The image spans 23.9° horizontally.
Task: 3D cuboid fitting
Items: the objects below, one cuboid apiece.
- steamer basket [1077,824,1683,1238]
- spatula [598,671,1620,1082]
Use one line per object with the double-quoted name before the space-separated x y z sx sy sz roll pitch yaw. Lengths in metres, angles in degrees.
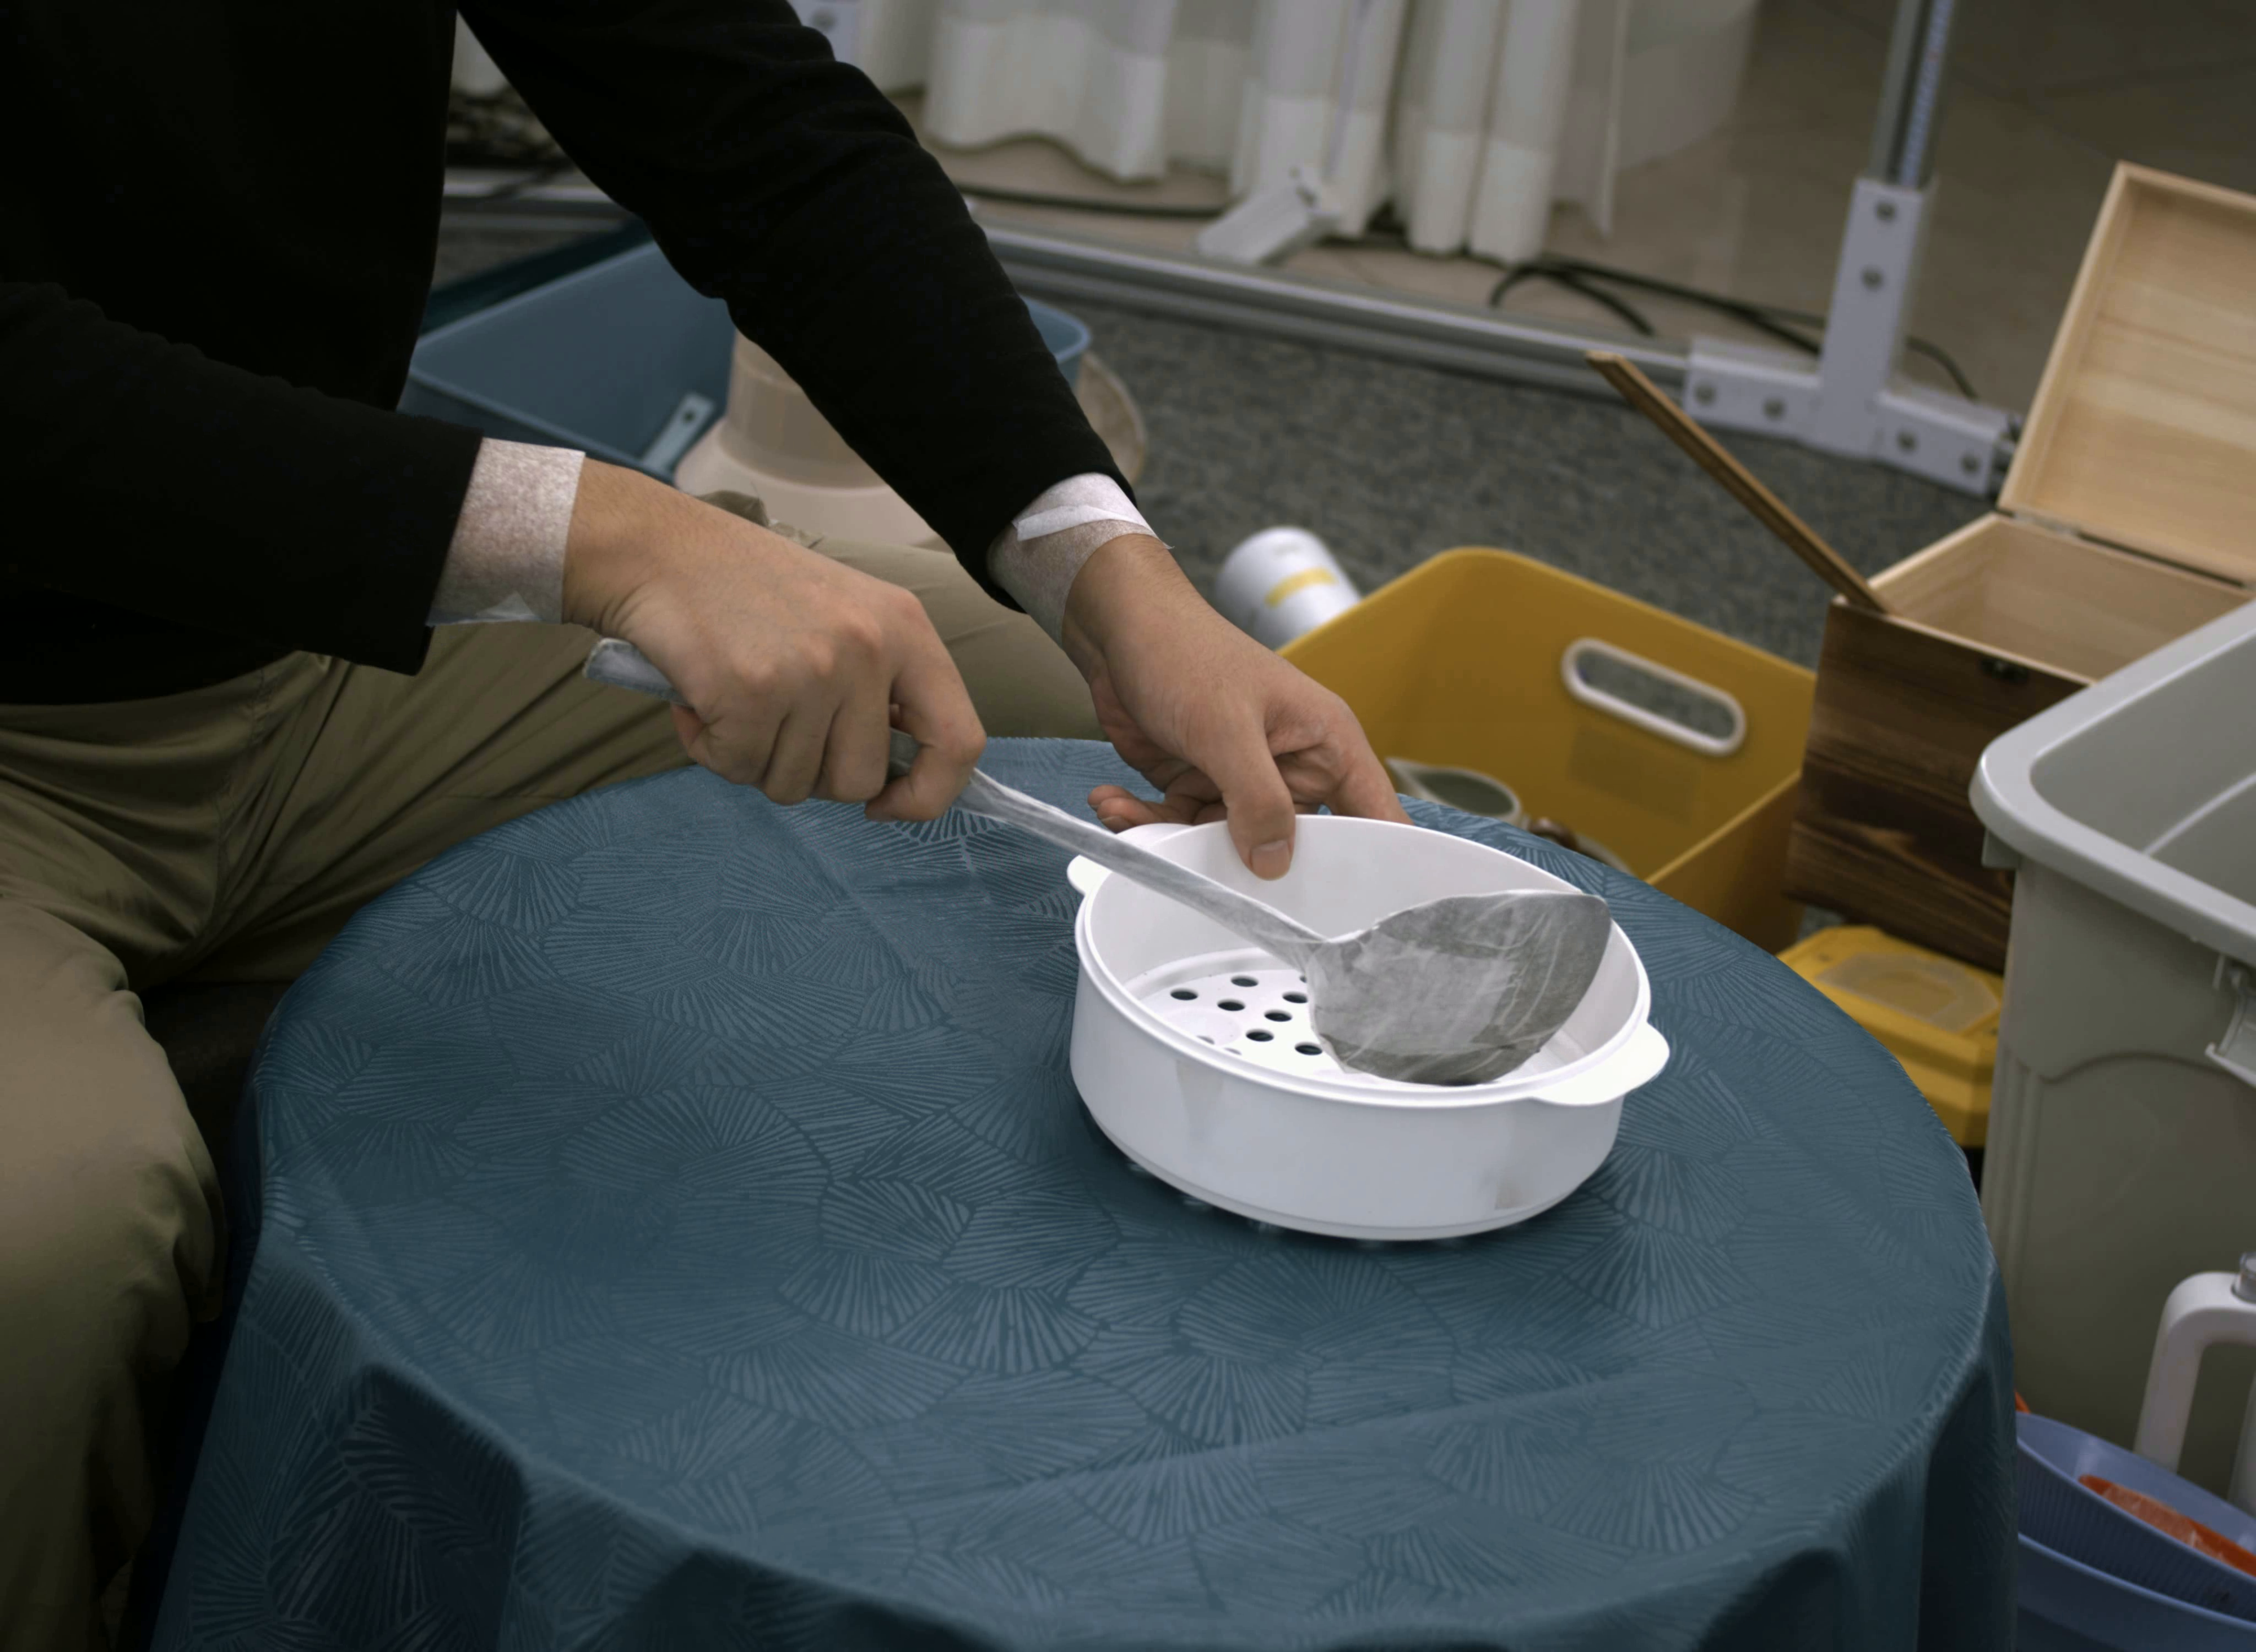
"steamer basket" 0.082 0.072 1.846 0.232 0.069 0.201 23 30 31
"spatula" -0.006 0.007 1.803 0.363 0.098 0.045 23 37 -11
